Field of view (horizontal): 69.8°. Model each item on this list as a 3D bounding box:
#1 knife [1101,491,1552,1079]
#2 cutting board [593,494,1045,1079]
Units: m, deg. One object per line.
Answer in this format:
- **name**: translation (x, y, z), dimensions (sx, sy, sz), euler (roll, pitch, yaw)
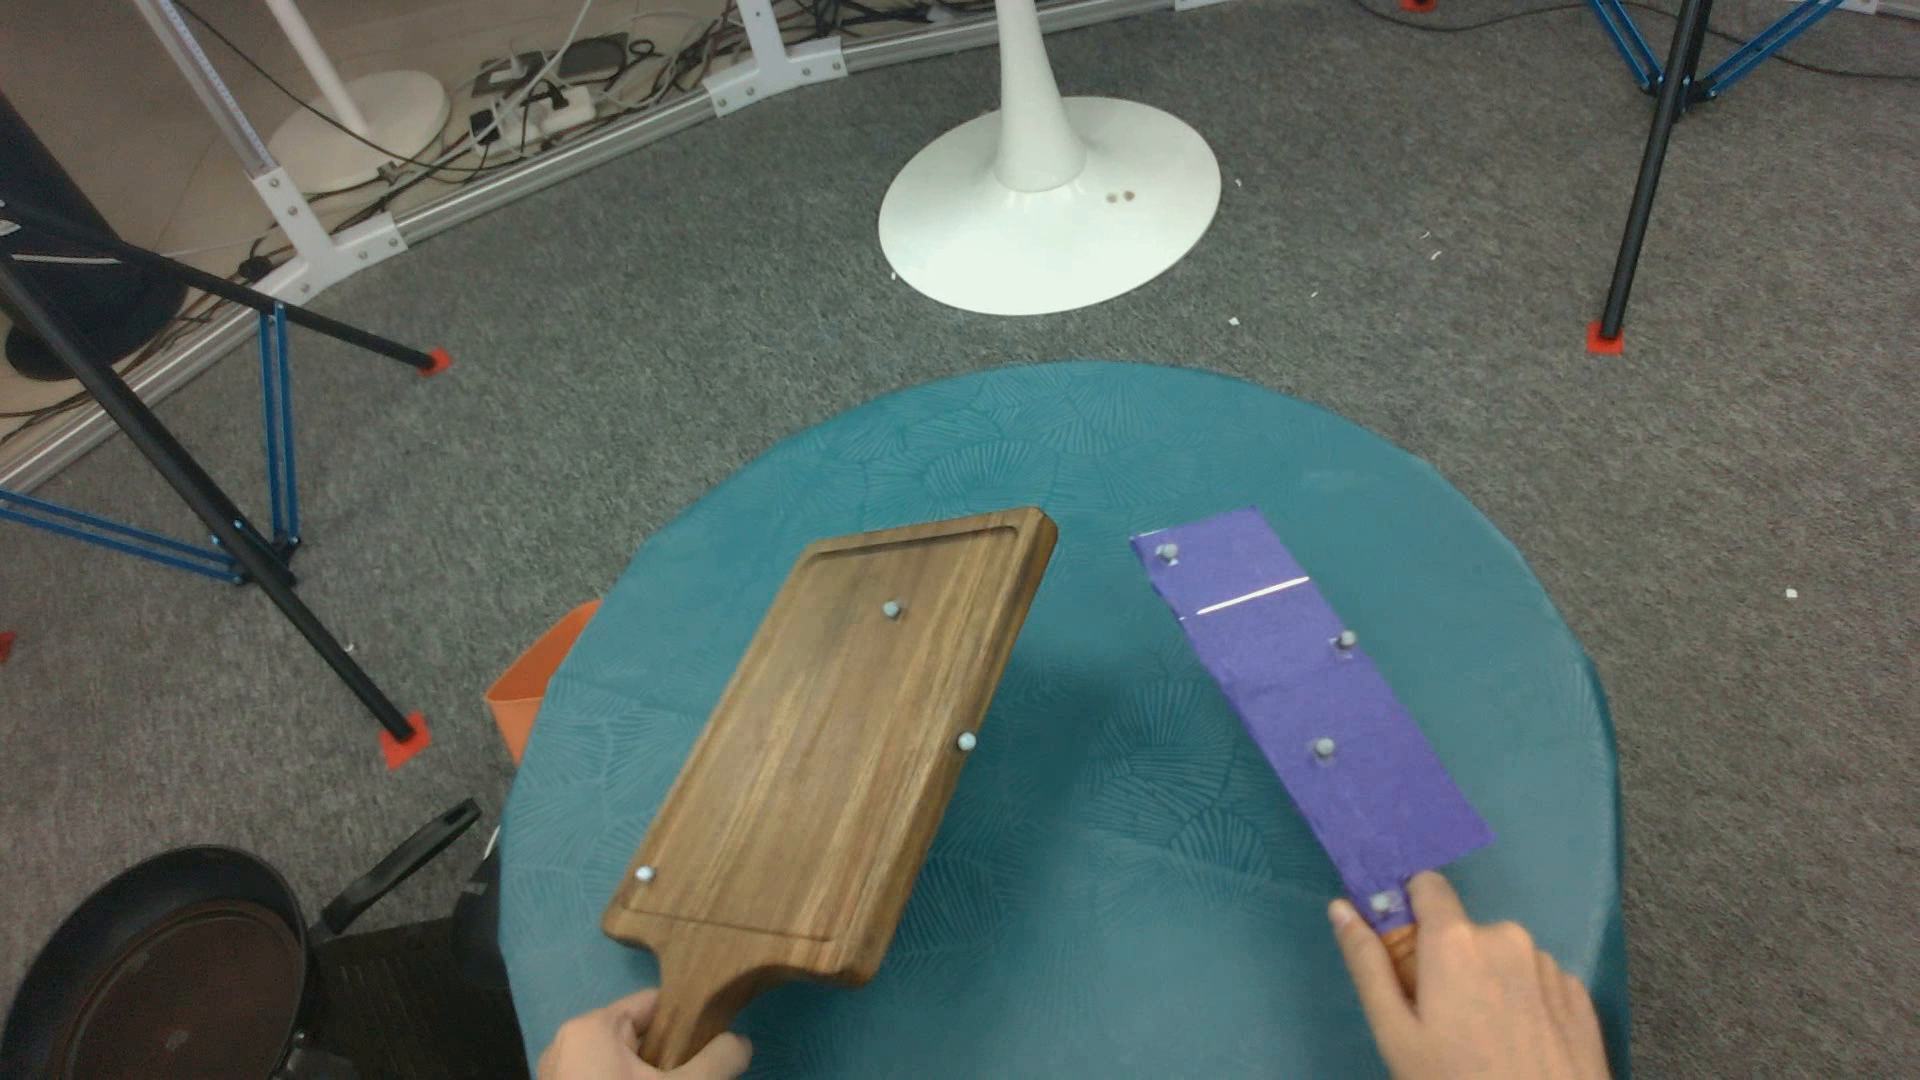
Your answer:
- **knife**: translation (0.183, 0.099, 0.640), dimensions (0.104, 0.032, 0.316), euler (-14, 60, -29)
- **cutting board**: translation (-0.090, 0.130, 0.676), dimensions (0.200, 0.023, 0.354), euler (-8, 48, 44)
